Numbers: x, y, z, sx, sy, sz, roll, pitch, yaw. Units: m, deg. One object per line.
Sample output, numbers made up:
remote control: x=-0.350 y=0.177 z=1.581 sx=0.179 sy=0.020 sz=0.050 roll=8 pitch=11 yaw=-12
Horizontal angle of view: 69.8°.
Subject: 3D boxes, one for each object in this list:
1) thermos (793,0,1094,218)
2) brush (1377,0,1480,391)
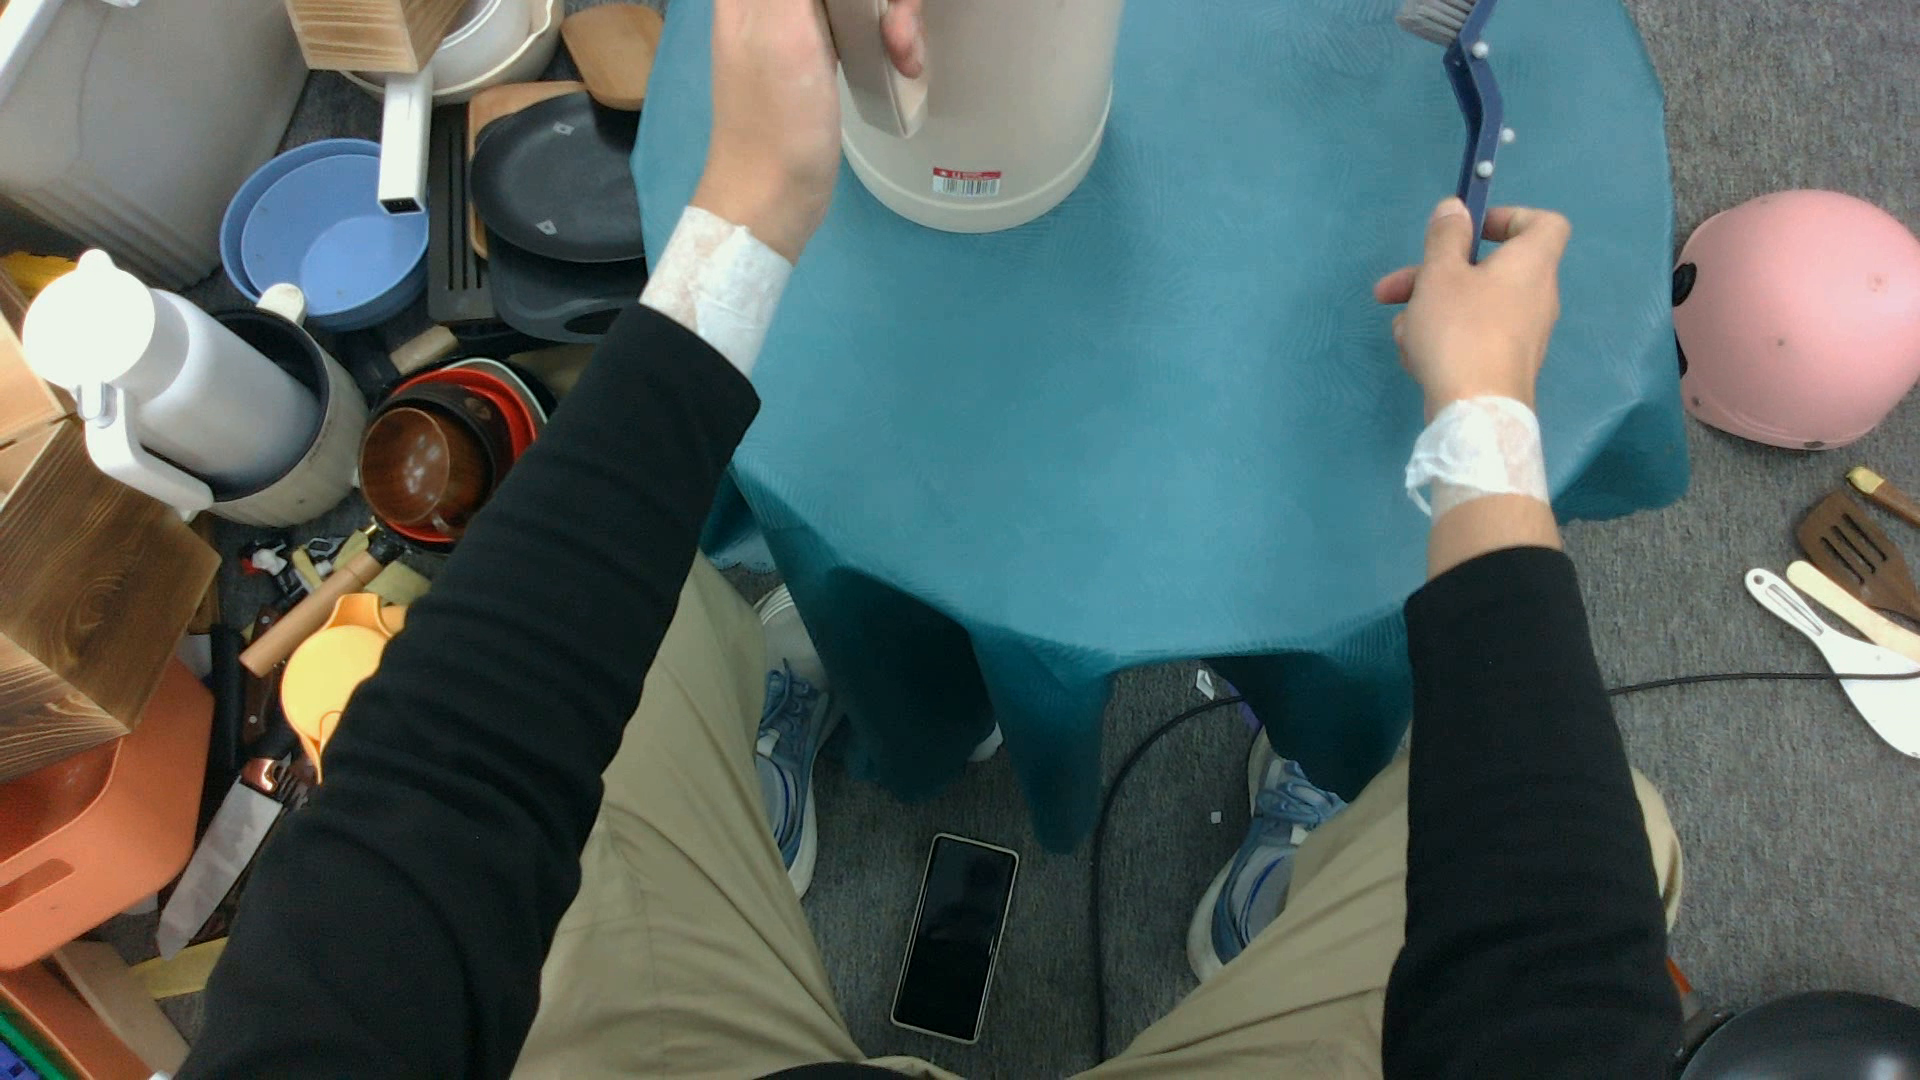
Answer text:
thermos: x=-0.013 y=-0.294 z=0.612 sx=0.175 sy=0.405 sz=0.207 roll=23 pitch=77 yaw=3
brush: x=0.266 y=-0.209 z=0.724 sx=0.096 sy=0.033 sz=0.273 roll=5 pitch=79 yaw=0
